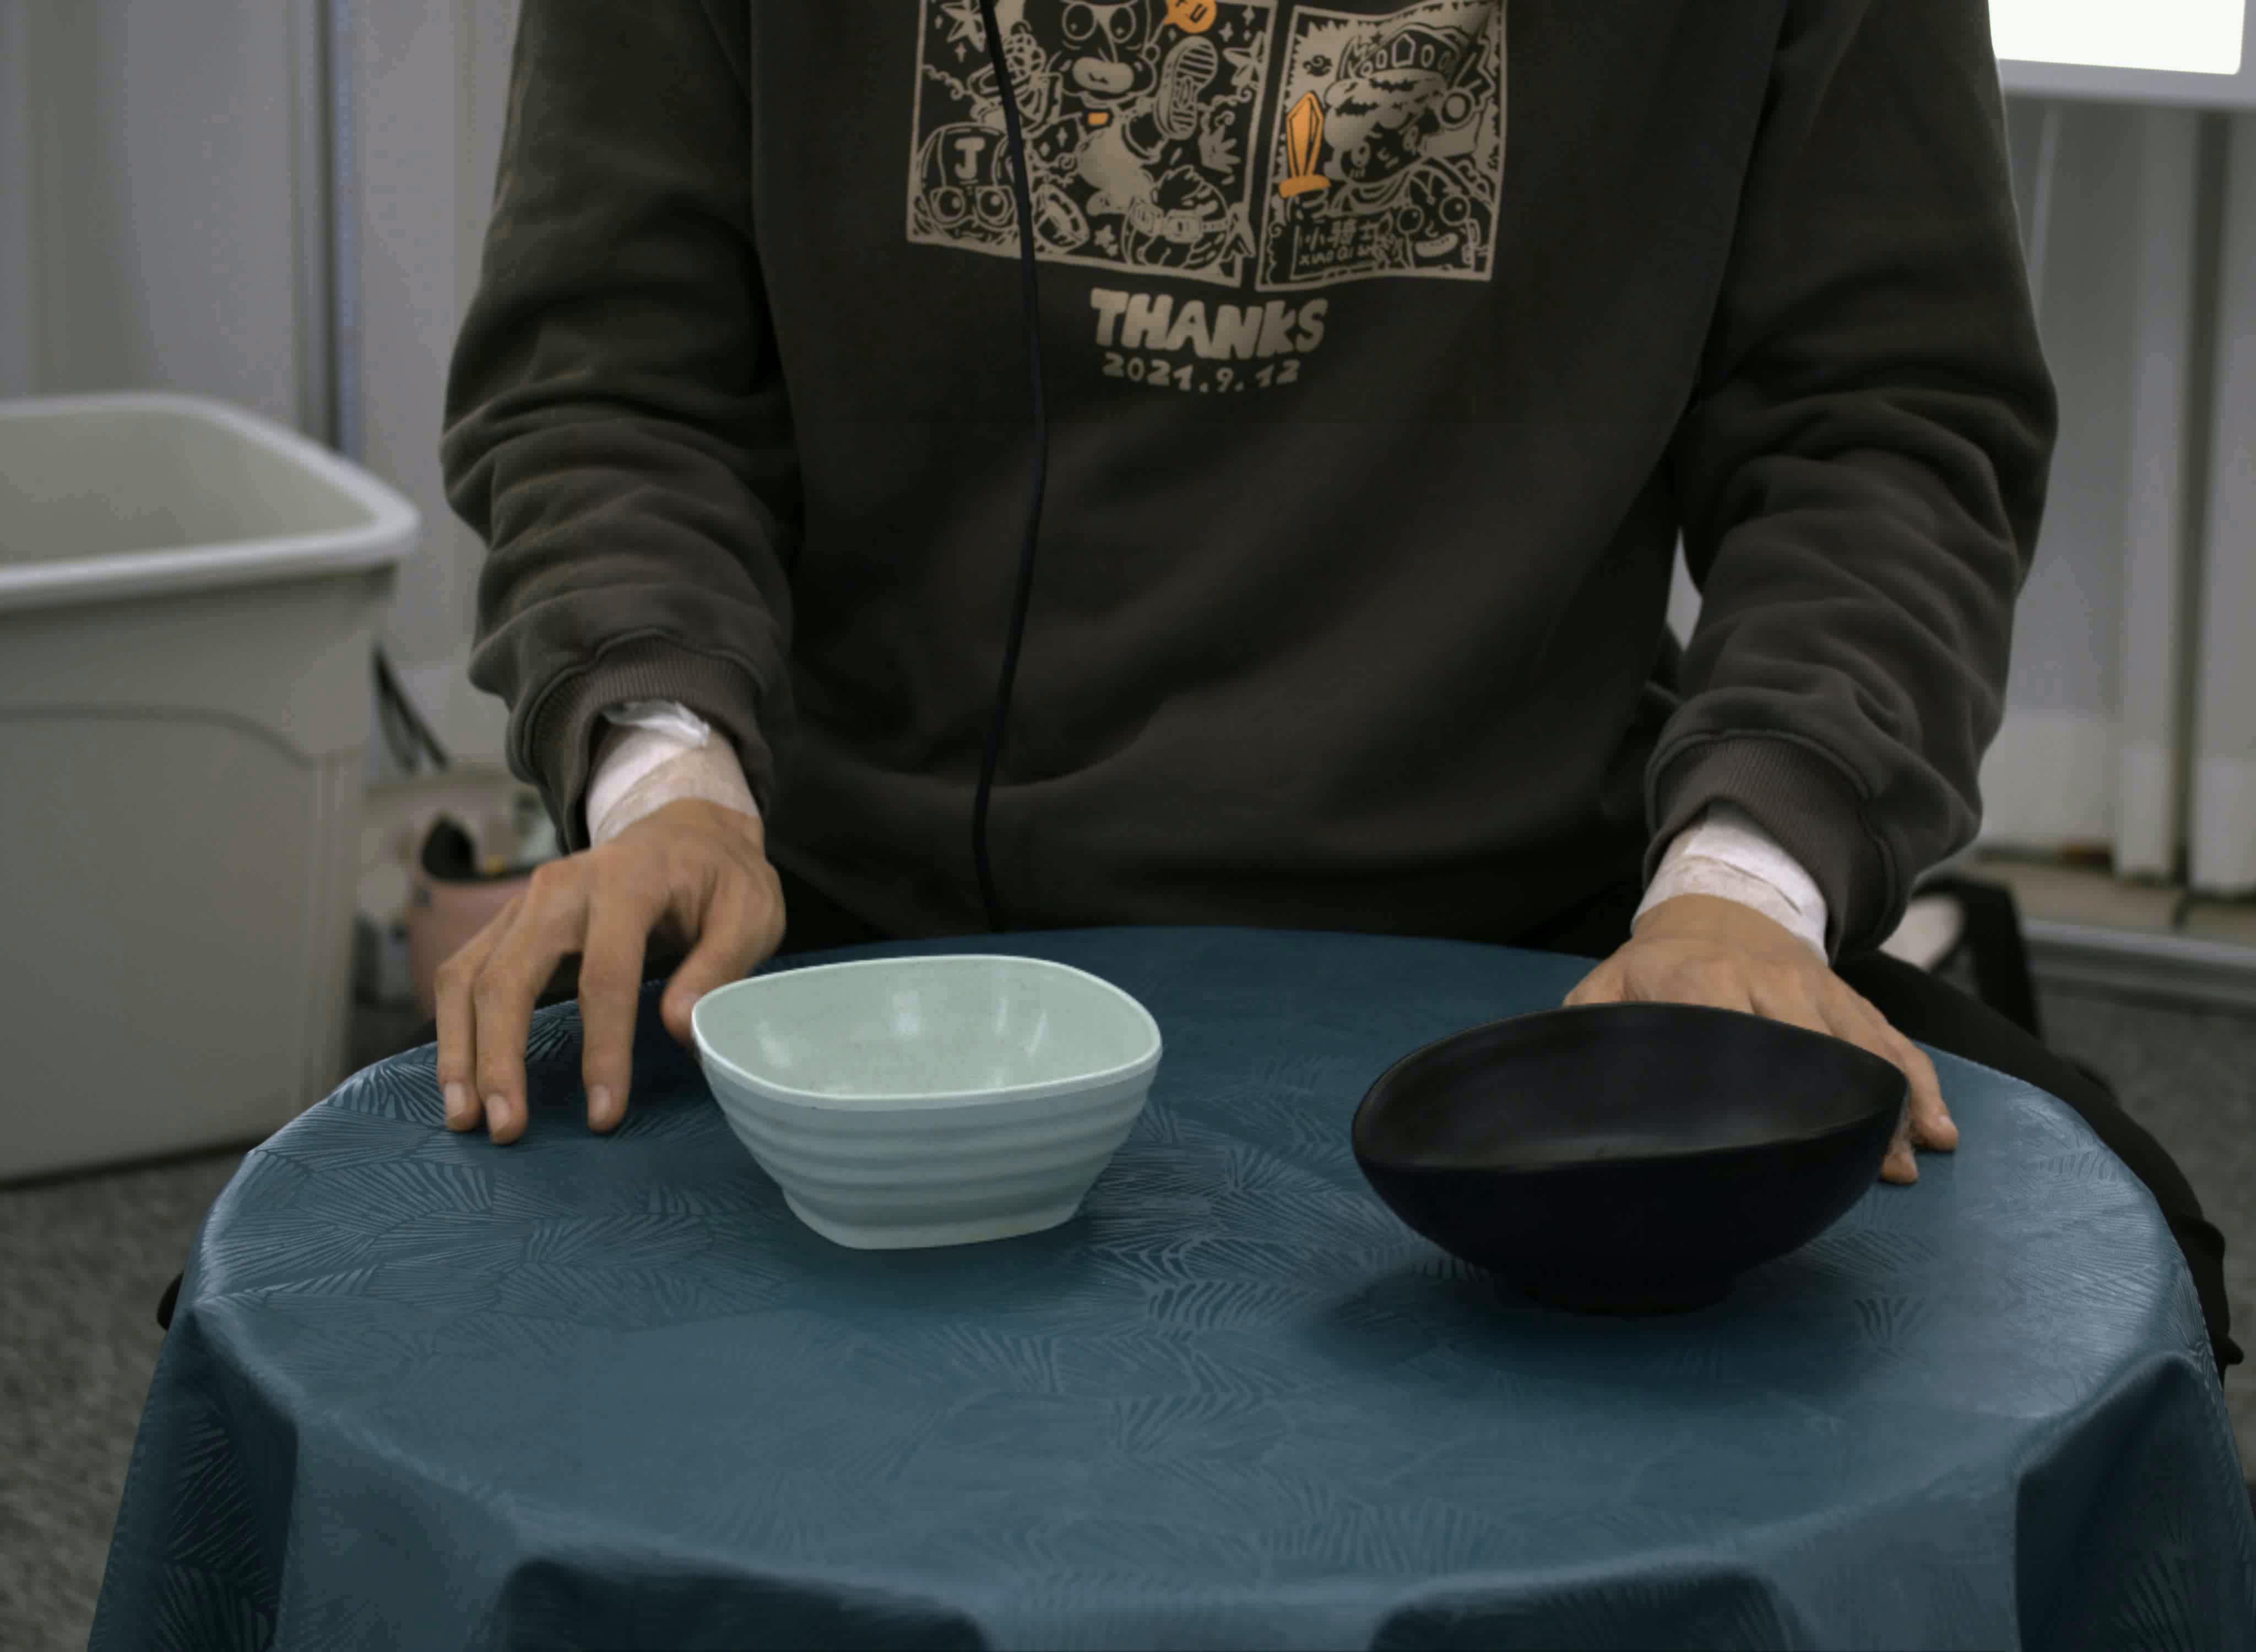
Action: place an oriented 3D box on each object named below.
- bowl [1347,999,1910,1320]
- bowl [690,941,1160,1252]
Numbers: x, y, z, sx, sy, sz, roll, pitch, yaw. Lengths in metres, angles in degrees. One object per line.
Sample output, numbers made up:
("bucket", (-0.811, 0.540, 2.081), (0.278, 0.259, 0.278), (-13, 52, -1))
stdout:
("bowl", (0.148, 0.104, 1.549), (0.171, 0.067, 0.136), (-7, 17, -21))
("bowl", (-0.062, 0.086, 1.612), (0.151, 0.059, 0.150), (1, 19, 0))
